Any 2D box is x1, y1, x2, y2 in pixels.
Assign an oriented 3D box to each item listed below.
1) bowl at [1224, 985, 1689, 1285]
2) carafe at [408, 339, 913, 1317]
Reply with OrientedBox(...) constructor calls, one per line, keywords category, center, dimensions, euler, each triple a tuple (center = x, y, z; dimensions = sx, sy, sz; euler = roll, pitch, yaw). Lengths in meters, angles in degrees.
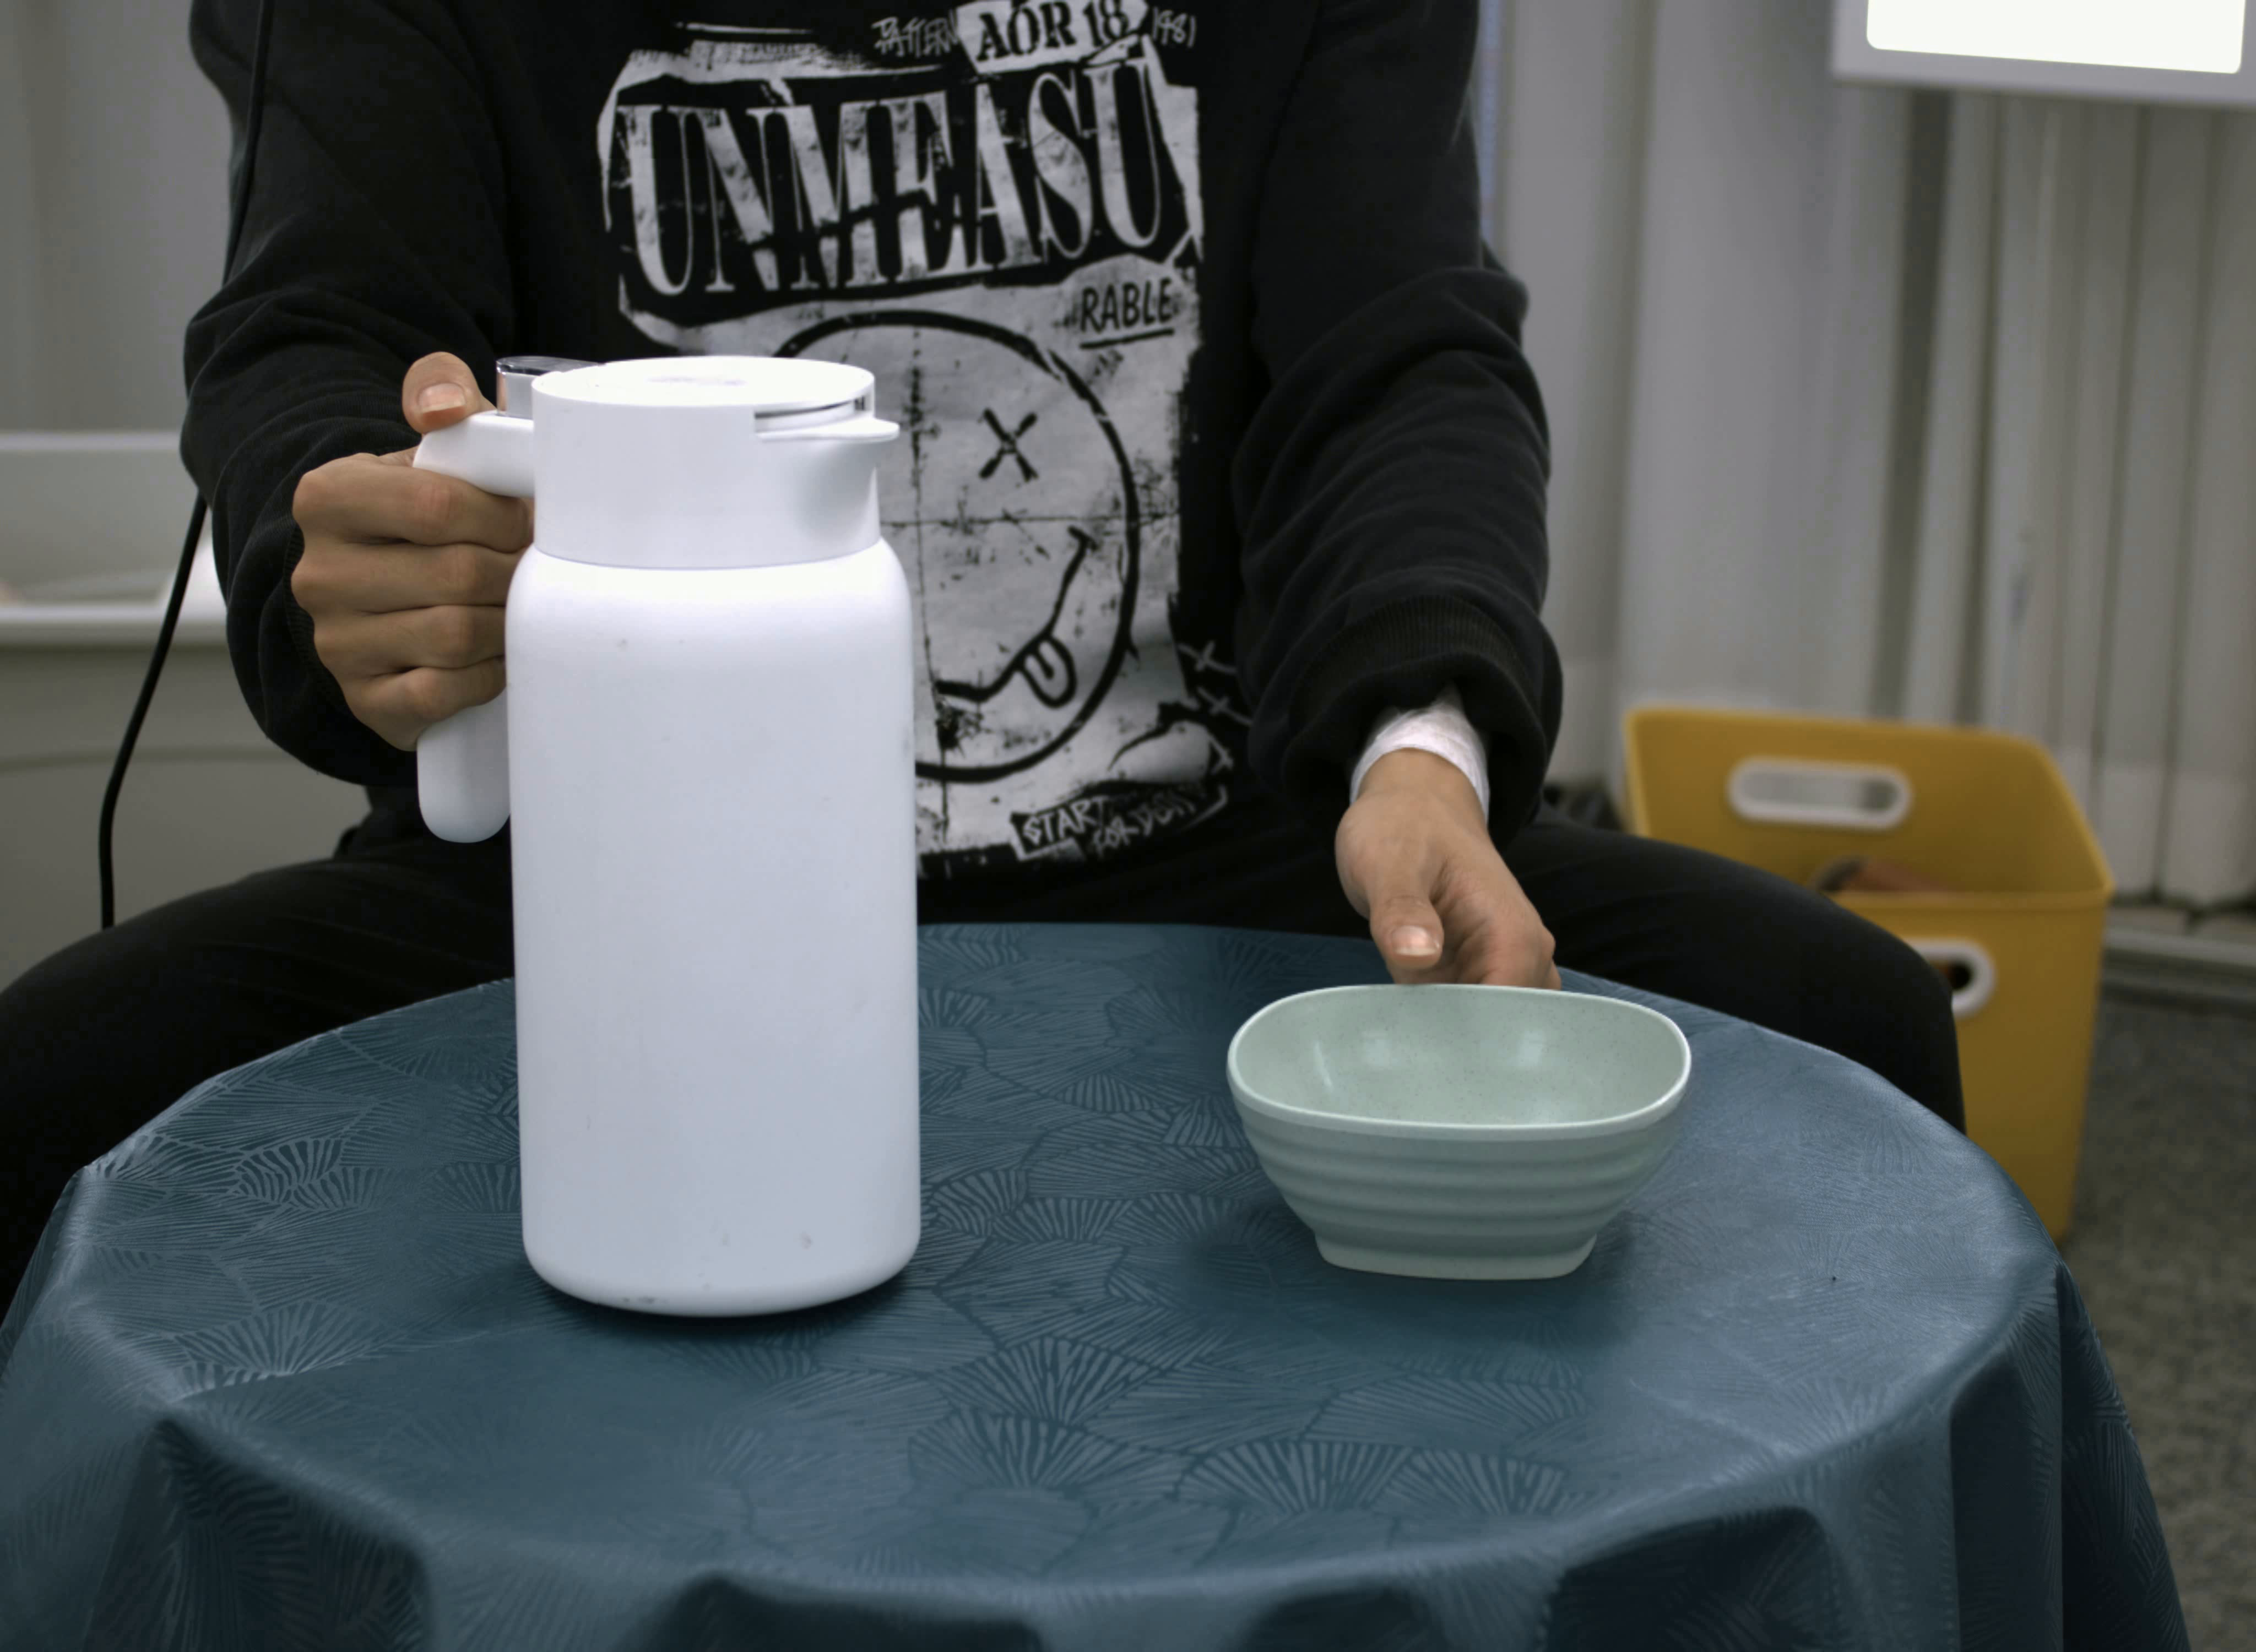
OrientedBox(category="bowl", center=(0.098, 0.096, 1.582), dimensions=(0.151, 0.059, 0.150), euler=(1, 16, 0))
OrientedBox(category="carafe", center=(-0.135, -0.002, 1.525), dimensions=(0.171, 0.271, 0.124), euler=(9, 18, 33))
